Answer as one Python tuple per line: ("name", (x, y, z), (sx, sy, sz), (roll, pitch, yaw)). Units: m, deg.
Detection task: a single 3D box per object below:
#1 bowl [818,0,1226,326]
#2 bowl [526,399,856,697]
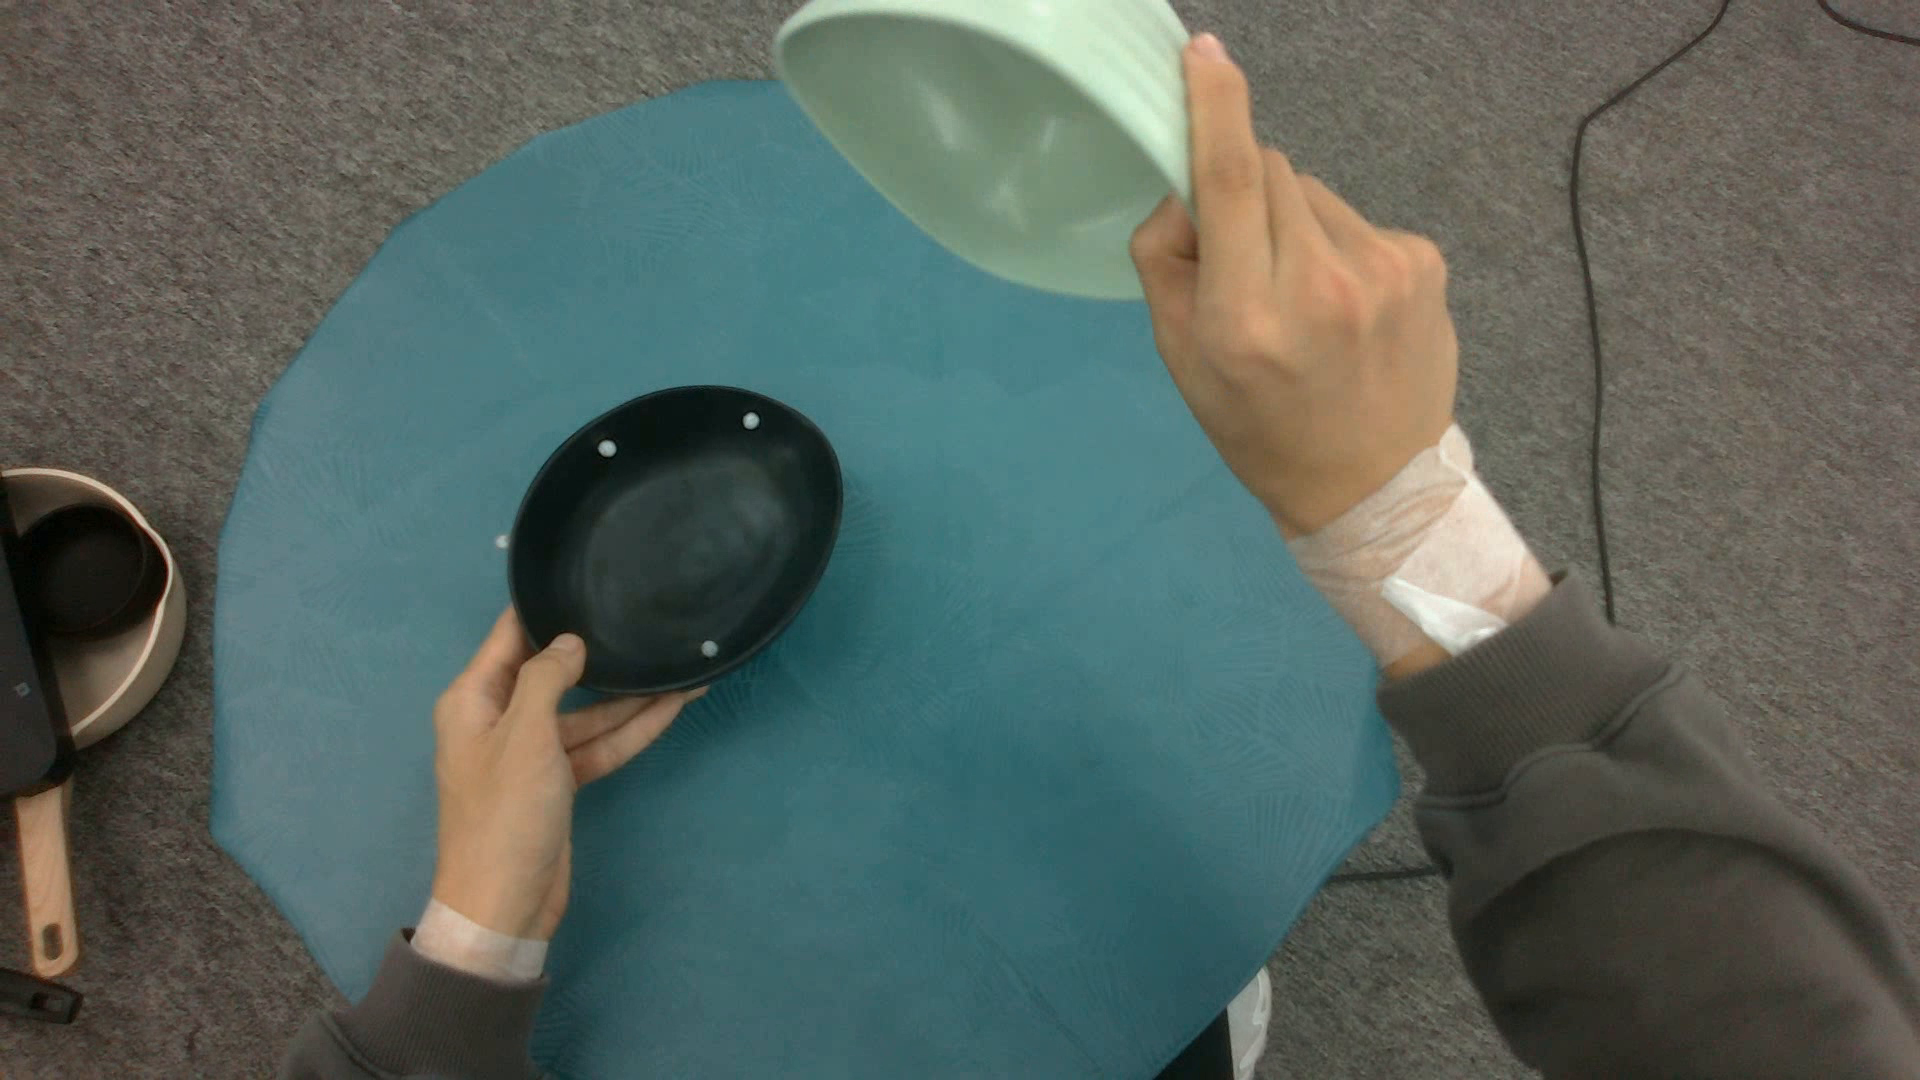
("bowl", (0.031, -0.138, 0.461), (0.151, 0.151, 0.059), (30, 75, 7))
("bowl", (-0.129, 0.007, 0.682), (0.137, 0.066, 0.171), (40, 71, 9))
